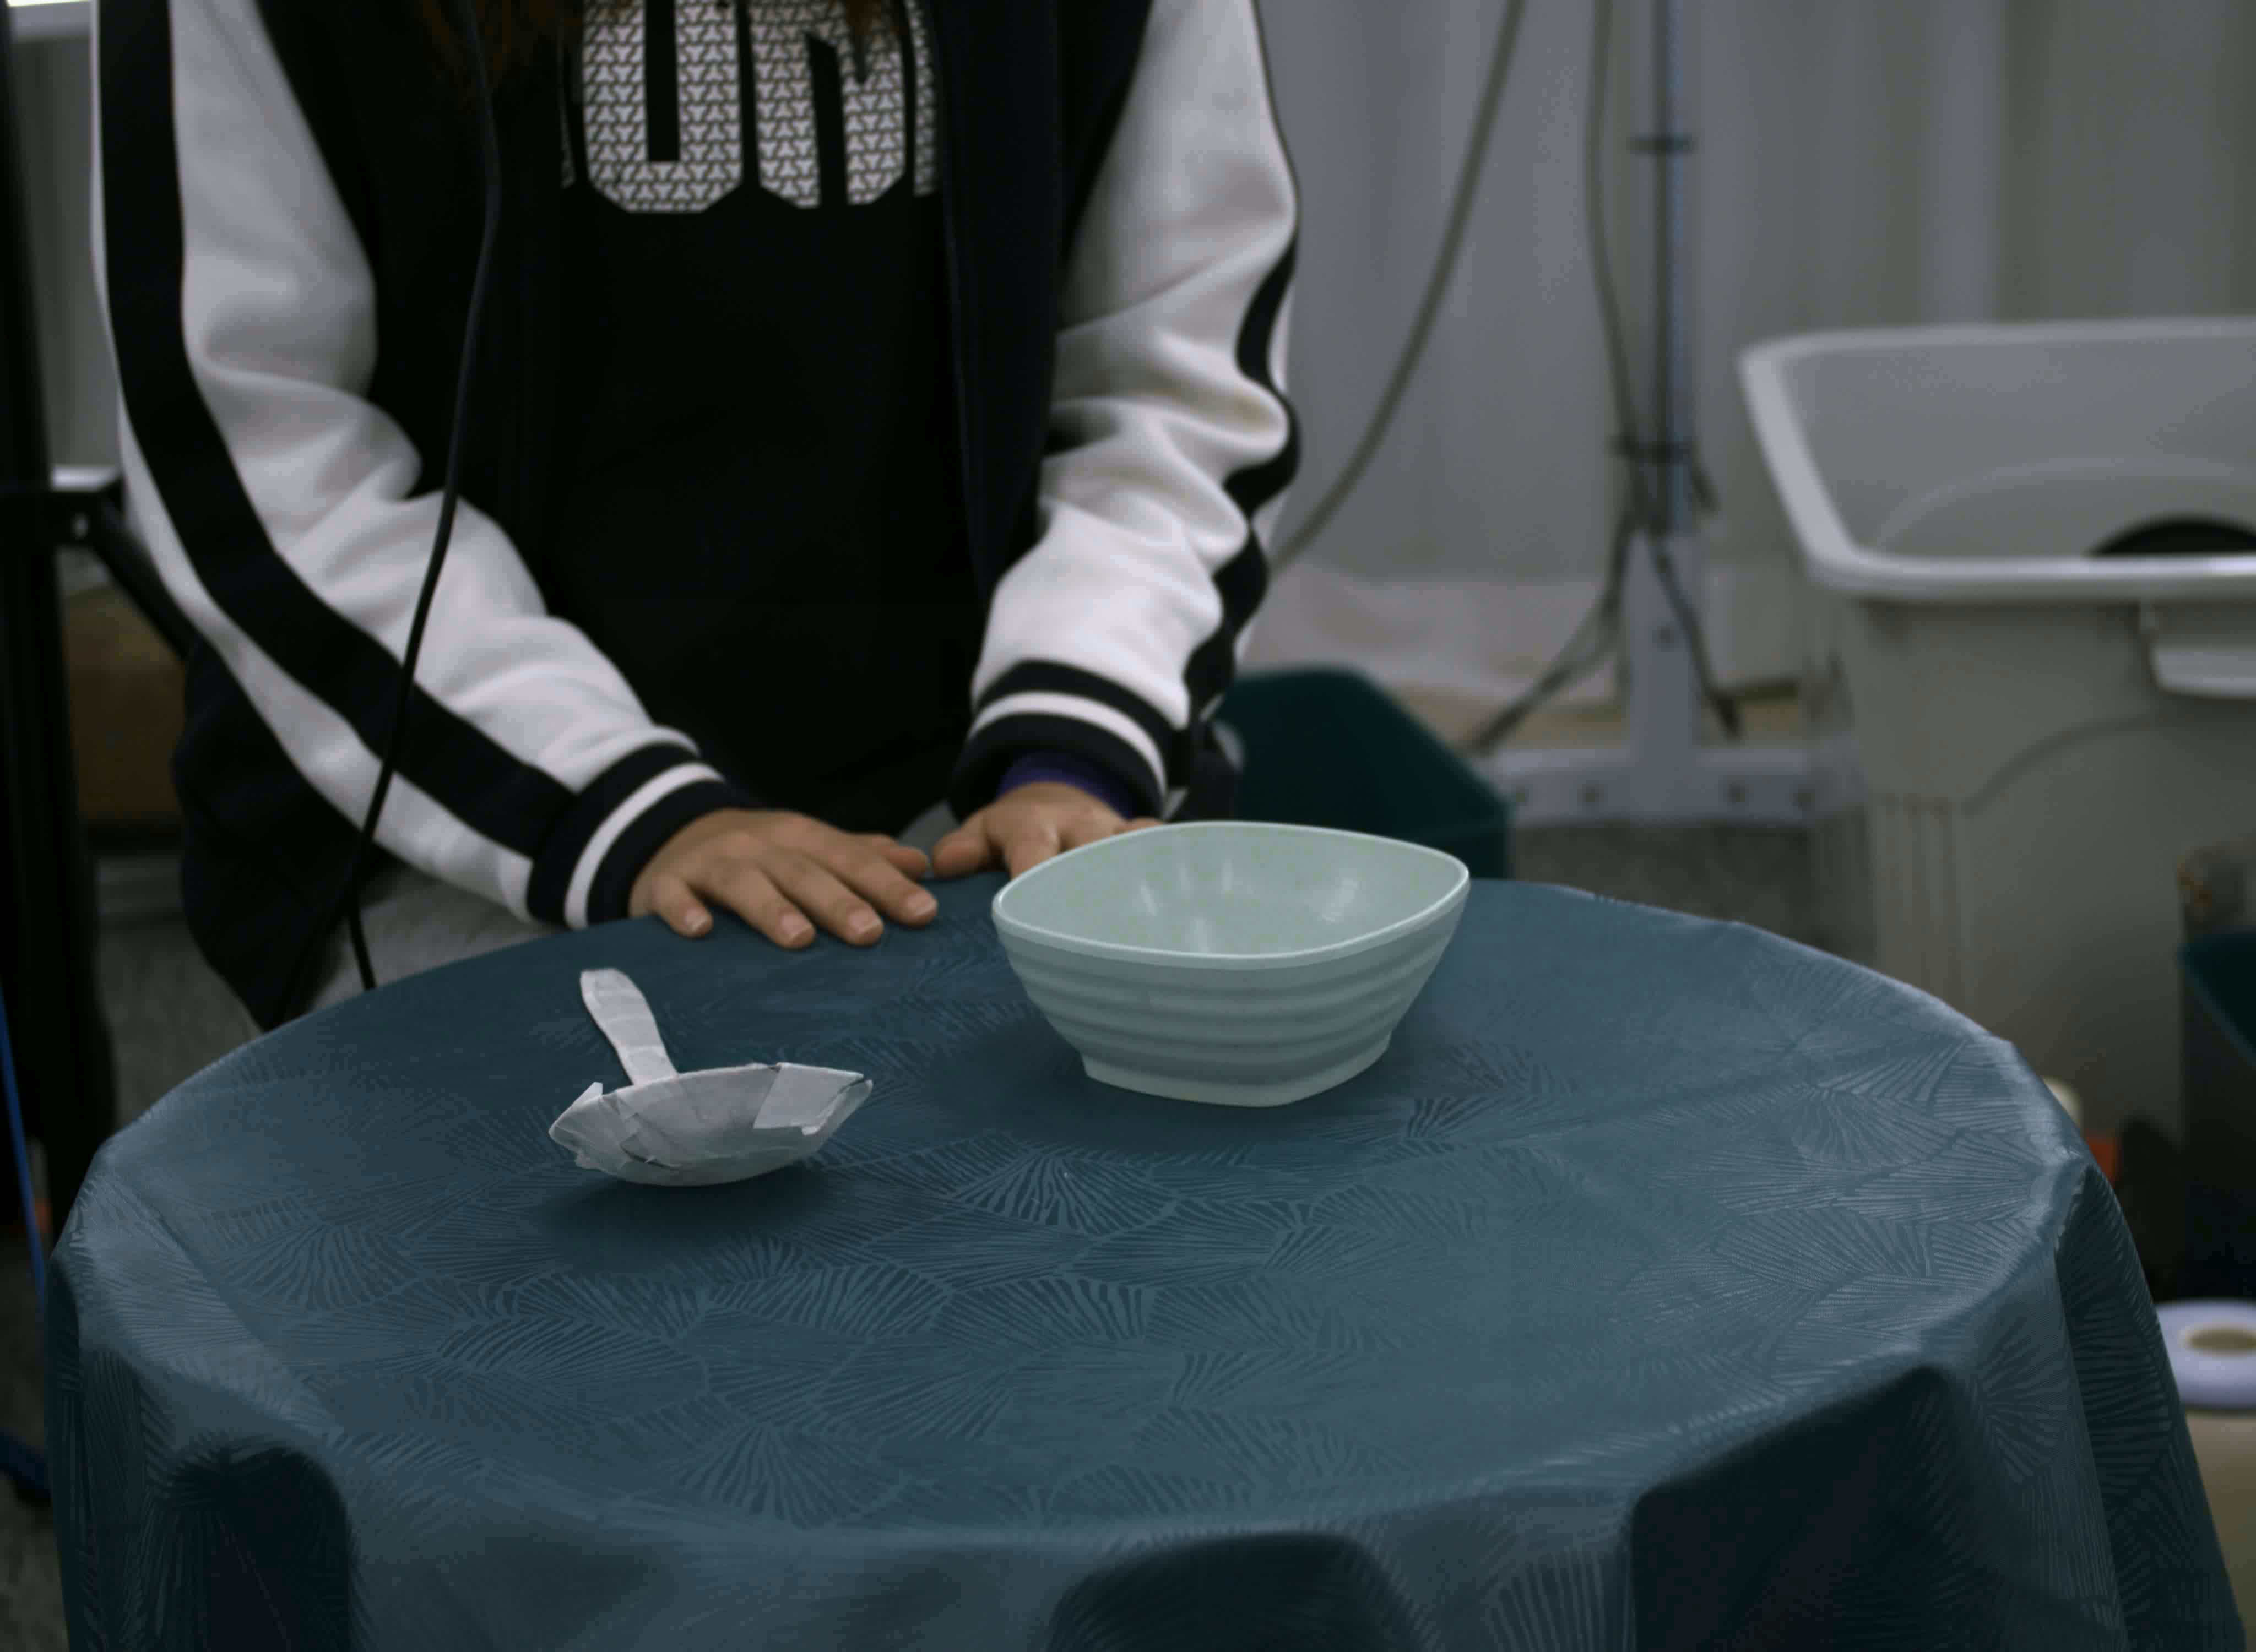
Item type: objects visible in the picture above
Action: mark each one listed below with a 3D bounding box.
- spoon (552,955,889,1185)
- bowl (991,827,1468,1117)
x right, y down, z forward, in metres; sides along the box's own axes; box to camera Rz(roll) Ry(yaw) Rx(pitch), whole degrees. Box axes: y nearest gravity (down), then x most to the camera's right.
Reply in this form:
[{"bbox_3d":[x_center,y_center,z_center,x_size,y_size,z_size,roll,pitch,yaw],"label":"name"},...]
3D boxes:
[{"bbox_3d":[-0.136,0.058,1.654,0.099,0.059,0.280,-1,15,-10],"label":"spoon"},{"bbox_3d":[0.033,0.049,1.665,0.150,0.058,0.152,-3,16,-1],"label":"bowl"}]
